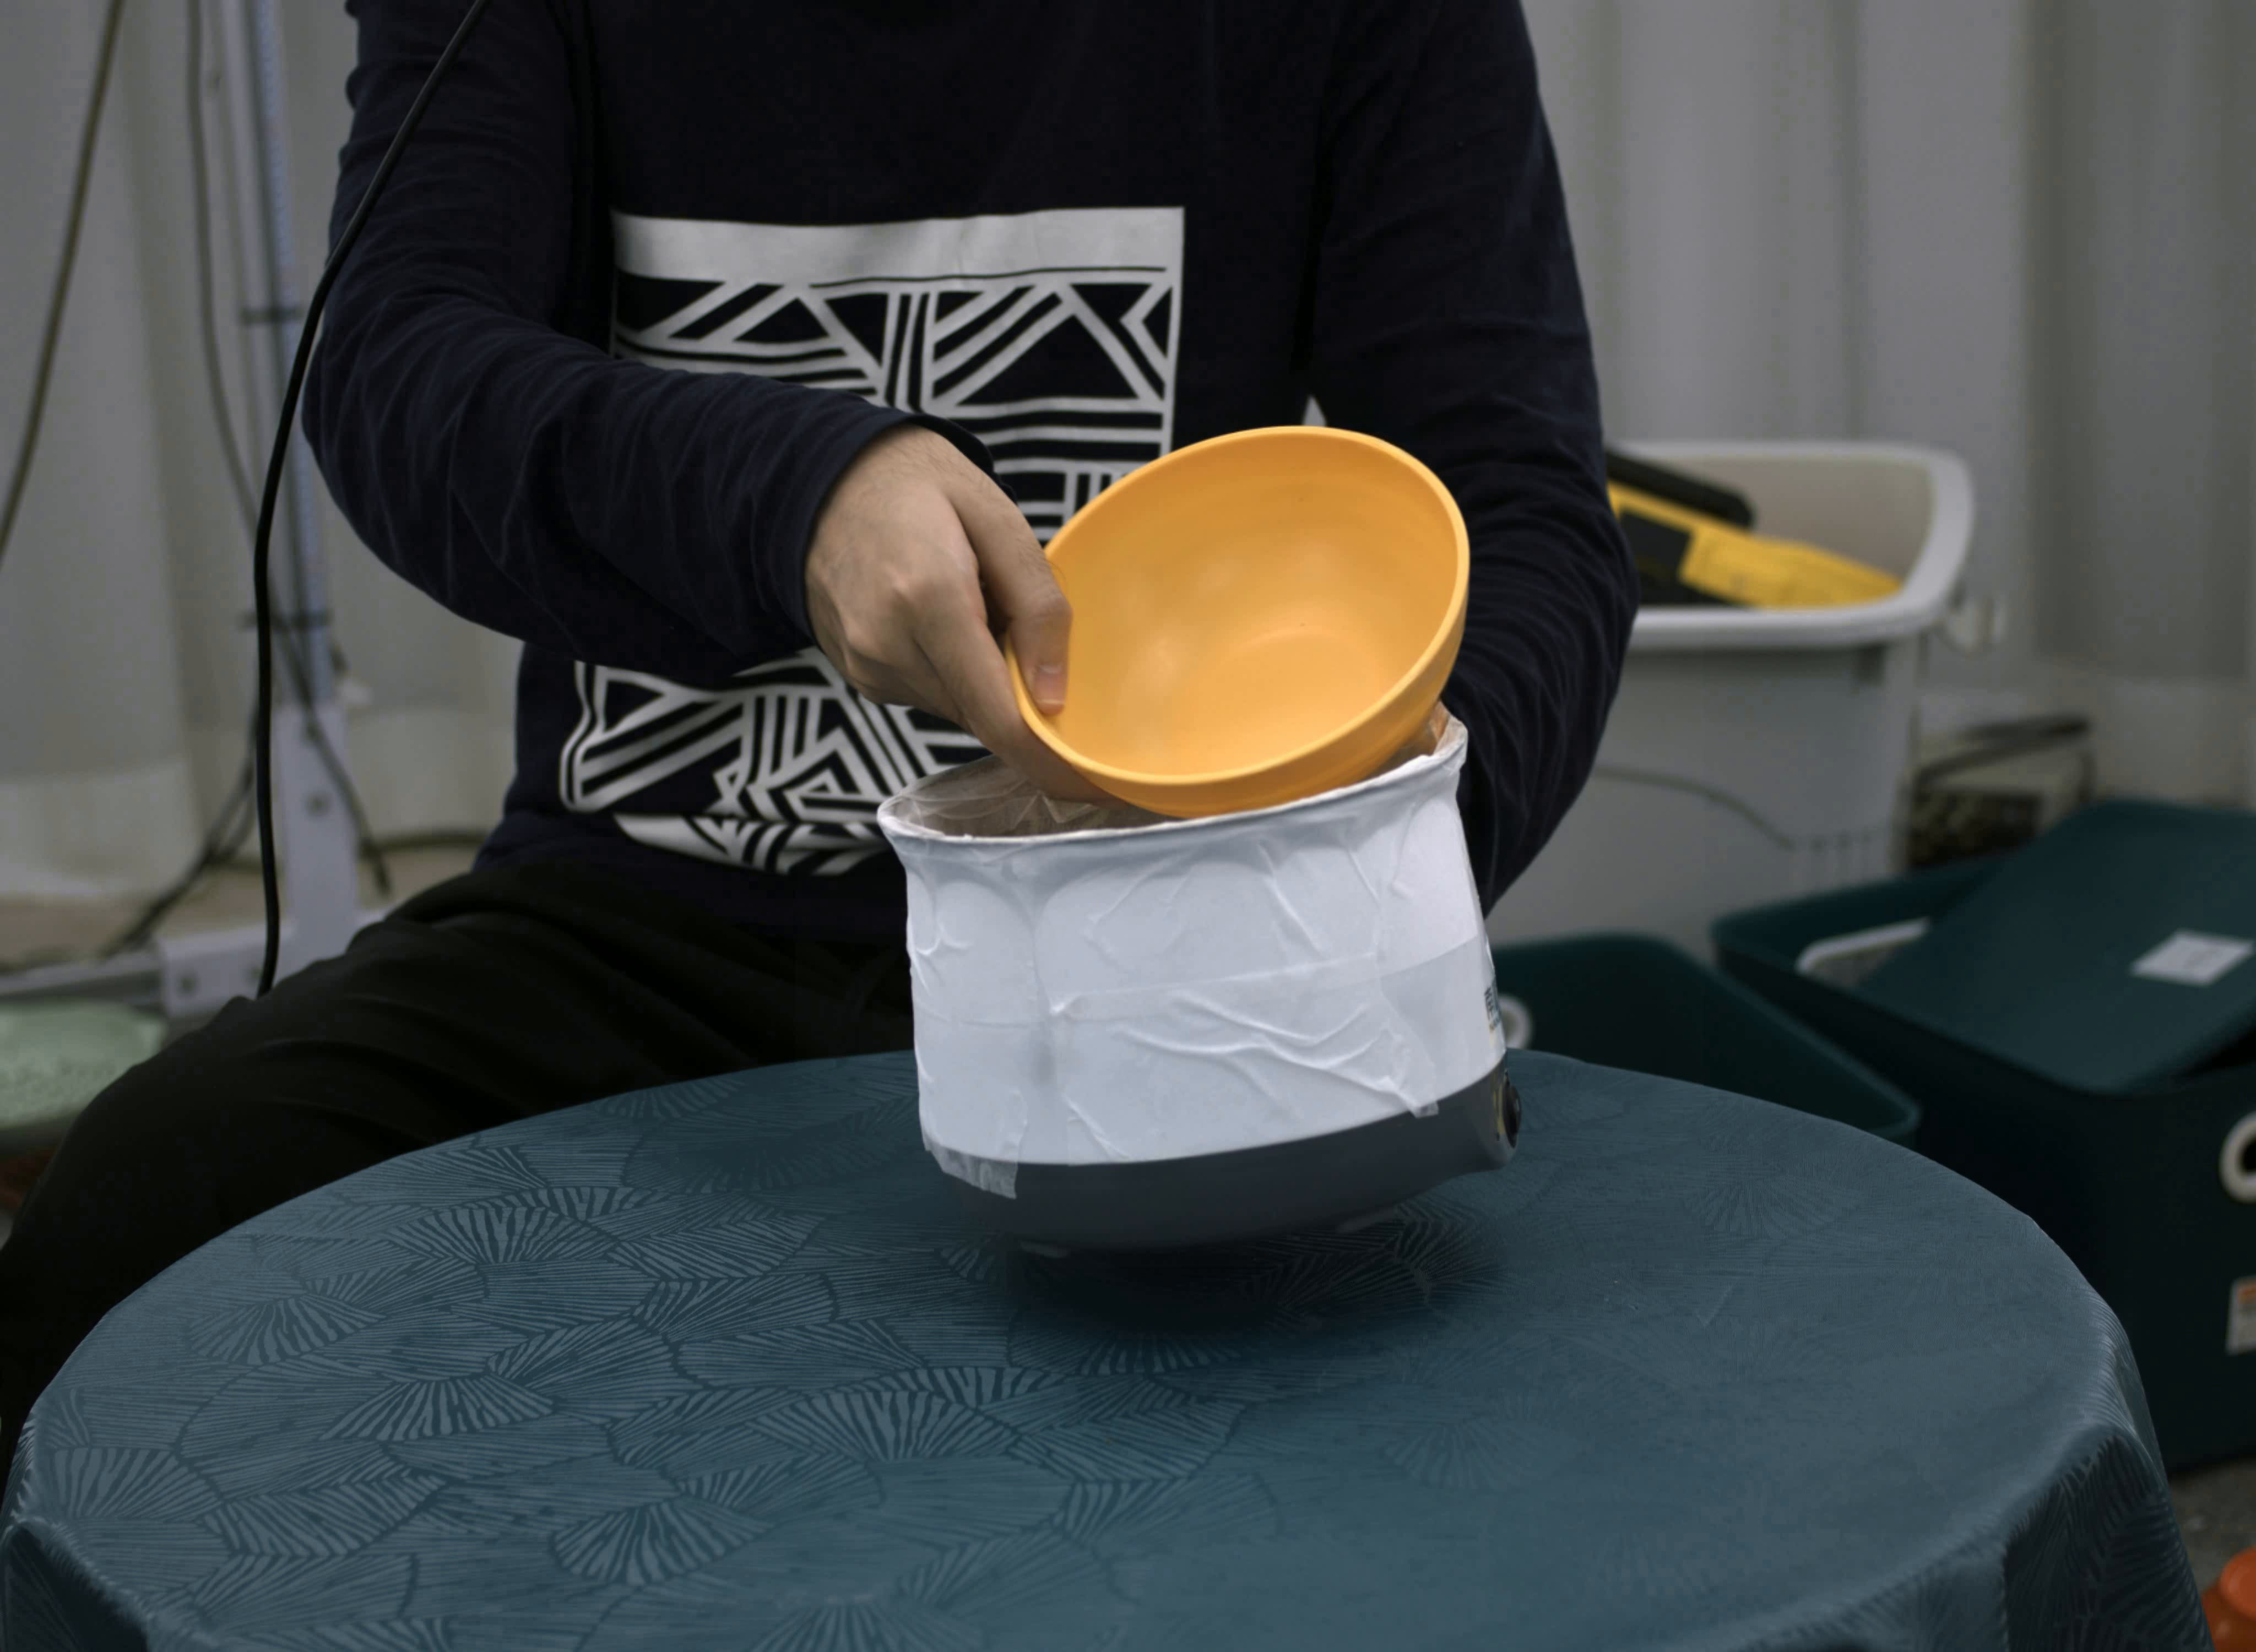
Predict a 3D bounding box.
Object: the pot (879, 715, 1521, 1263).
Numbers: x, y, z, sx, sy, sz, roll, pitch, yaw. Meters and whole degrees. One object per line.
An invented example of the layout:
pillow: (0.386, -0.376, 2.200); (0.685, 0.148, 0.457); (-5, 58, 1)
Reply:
pot: (0.027, 0.042, 1.658); (0.178, 0.136, 0.234); (-6, 9, 11)

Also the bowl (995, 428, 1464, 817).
bowl: (0.036, -0.050, 1.659); (0.145, 0.059, 0.147); (-10, 45, 10)
